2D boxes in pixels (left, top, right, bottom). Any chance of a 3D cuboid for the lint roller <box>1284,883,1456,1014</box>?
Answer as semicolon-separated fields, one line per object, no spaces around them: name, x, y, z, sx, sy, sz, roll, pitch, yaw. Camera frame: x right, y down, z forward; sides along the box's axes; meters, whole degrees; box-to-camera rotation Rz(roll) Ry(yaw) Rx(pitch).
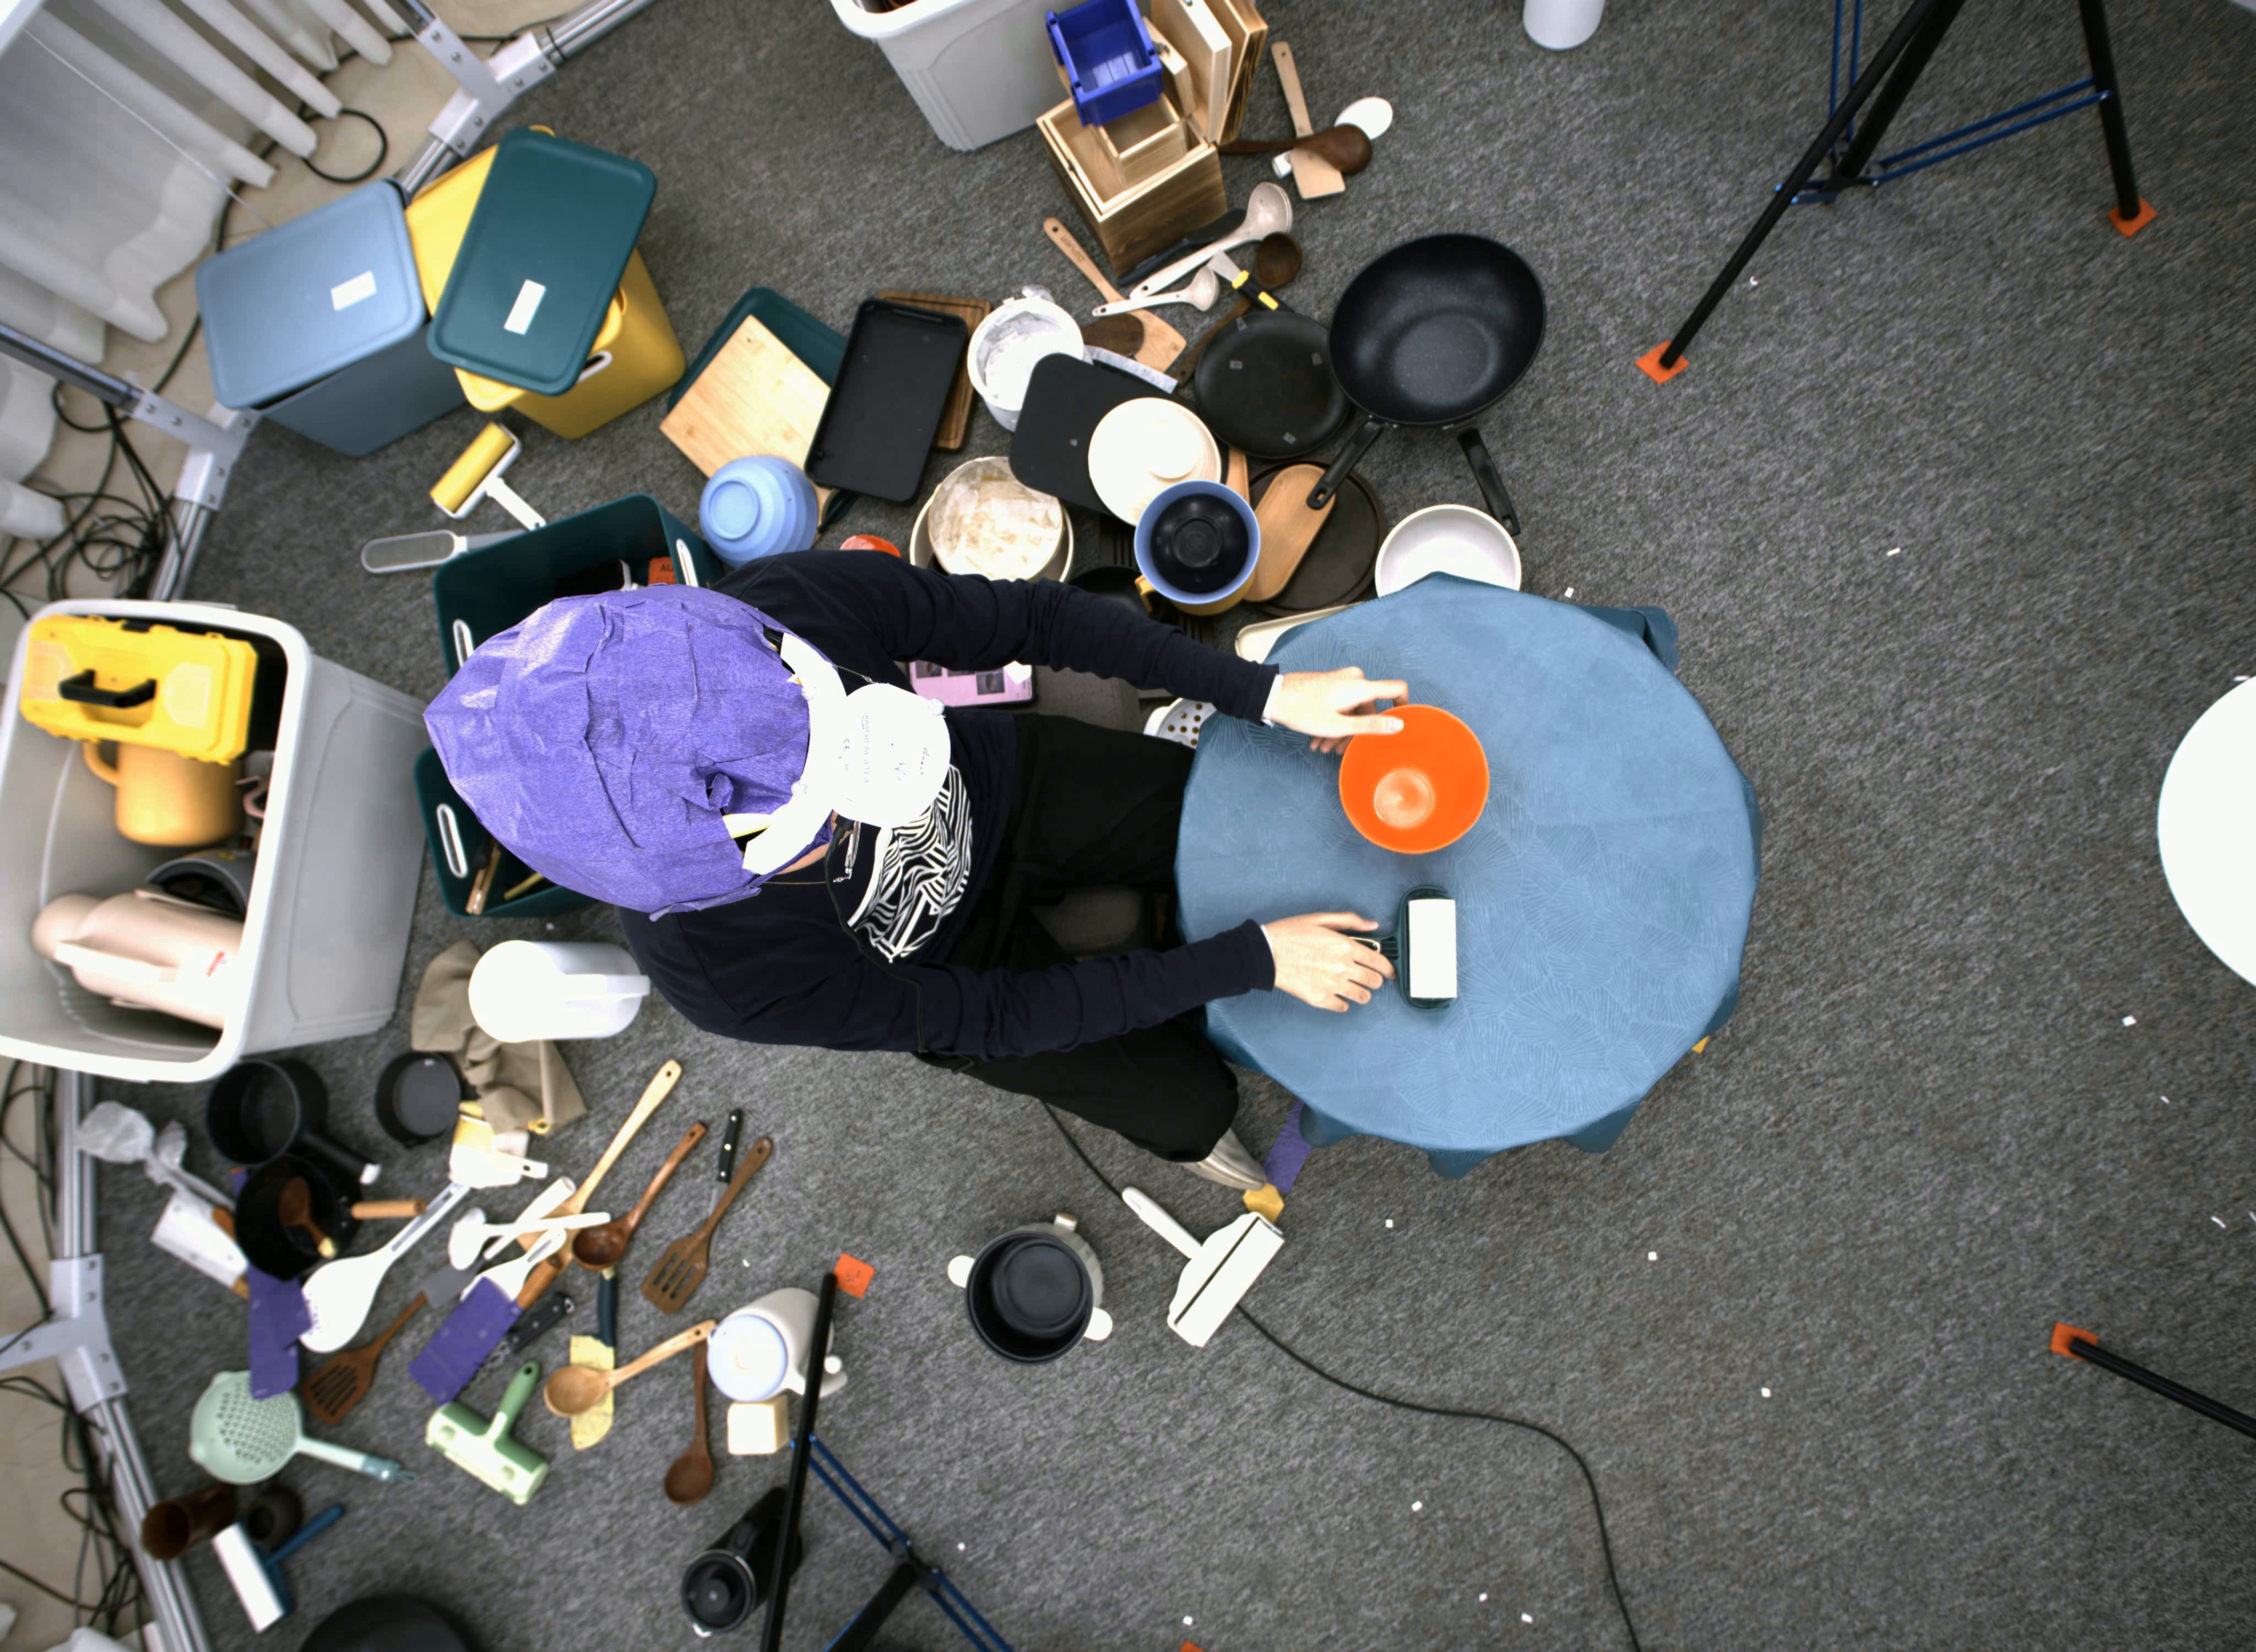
lint roller;0.249;0.128;1.441;0.181;0.048;0.134;-2;87;14

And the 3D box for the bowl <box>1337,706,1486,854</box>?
bowl;0.291;-0.043;1.416;0.148;0.105;0.147;-1;85;12
